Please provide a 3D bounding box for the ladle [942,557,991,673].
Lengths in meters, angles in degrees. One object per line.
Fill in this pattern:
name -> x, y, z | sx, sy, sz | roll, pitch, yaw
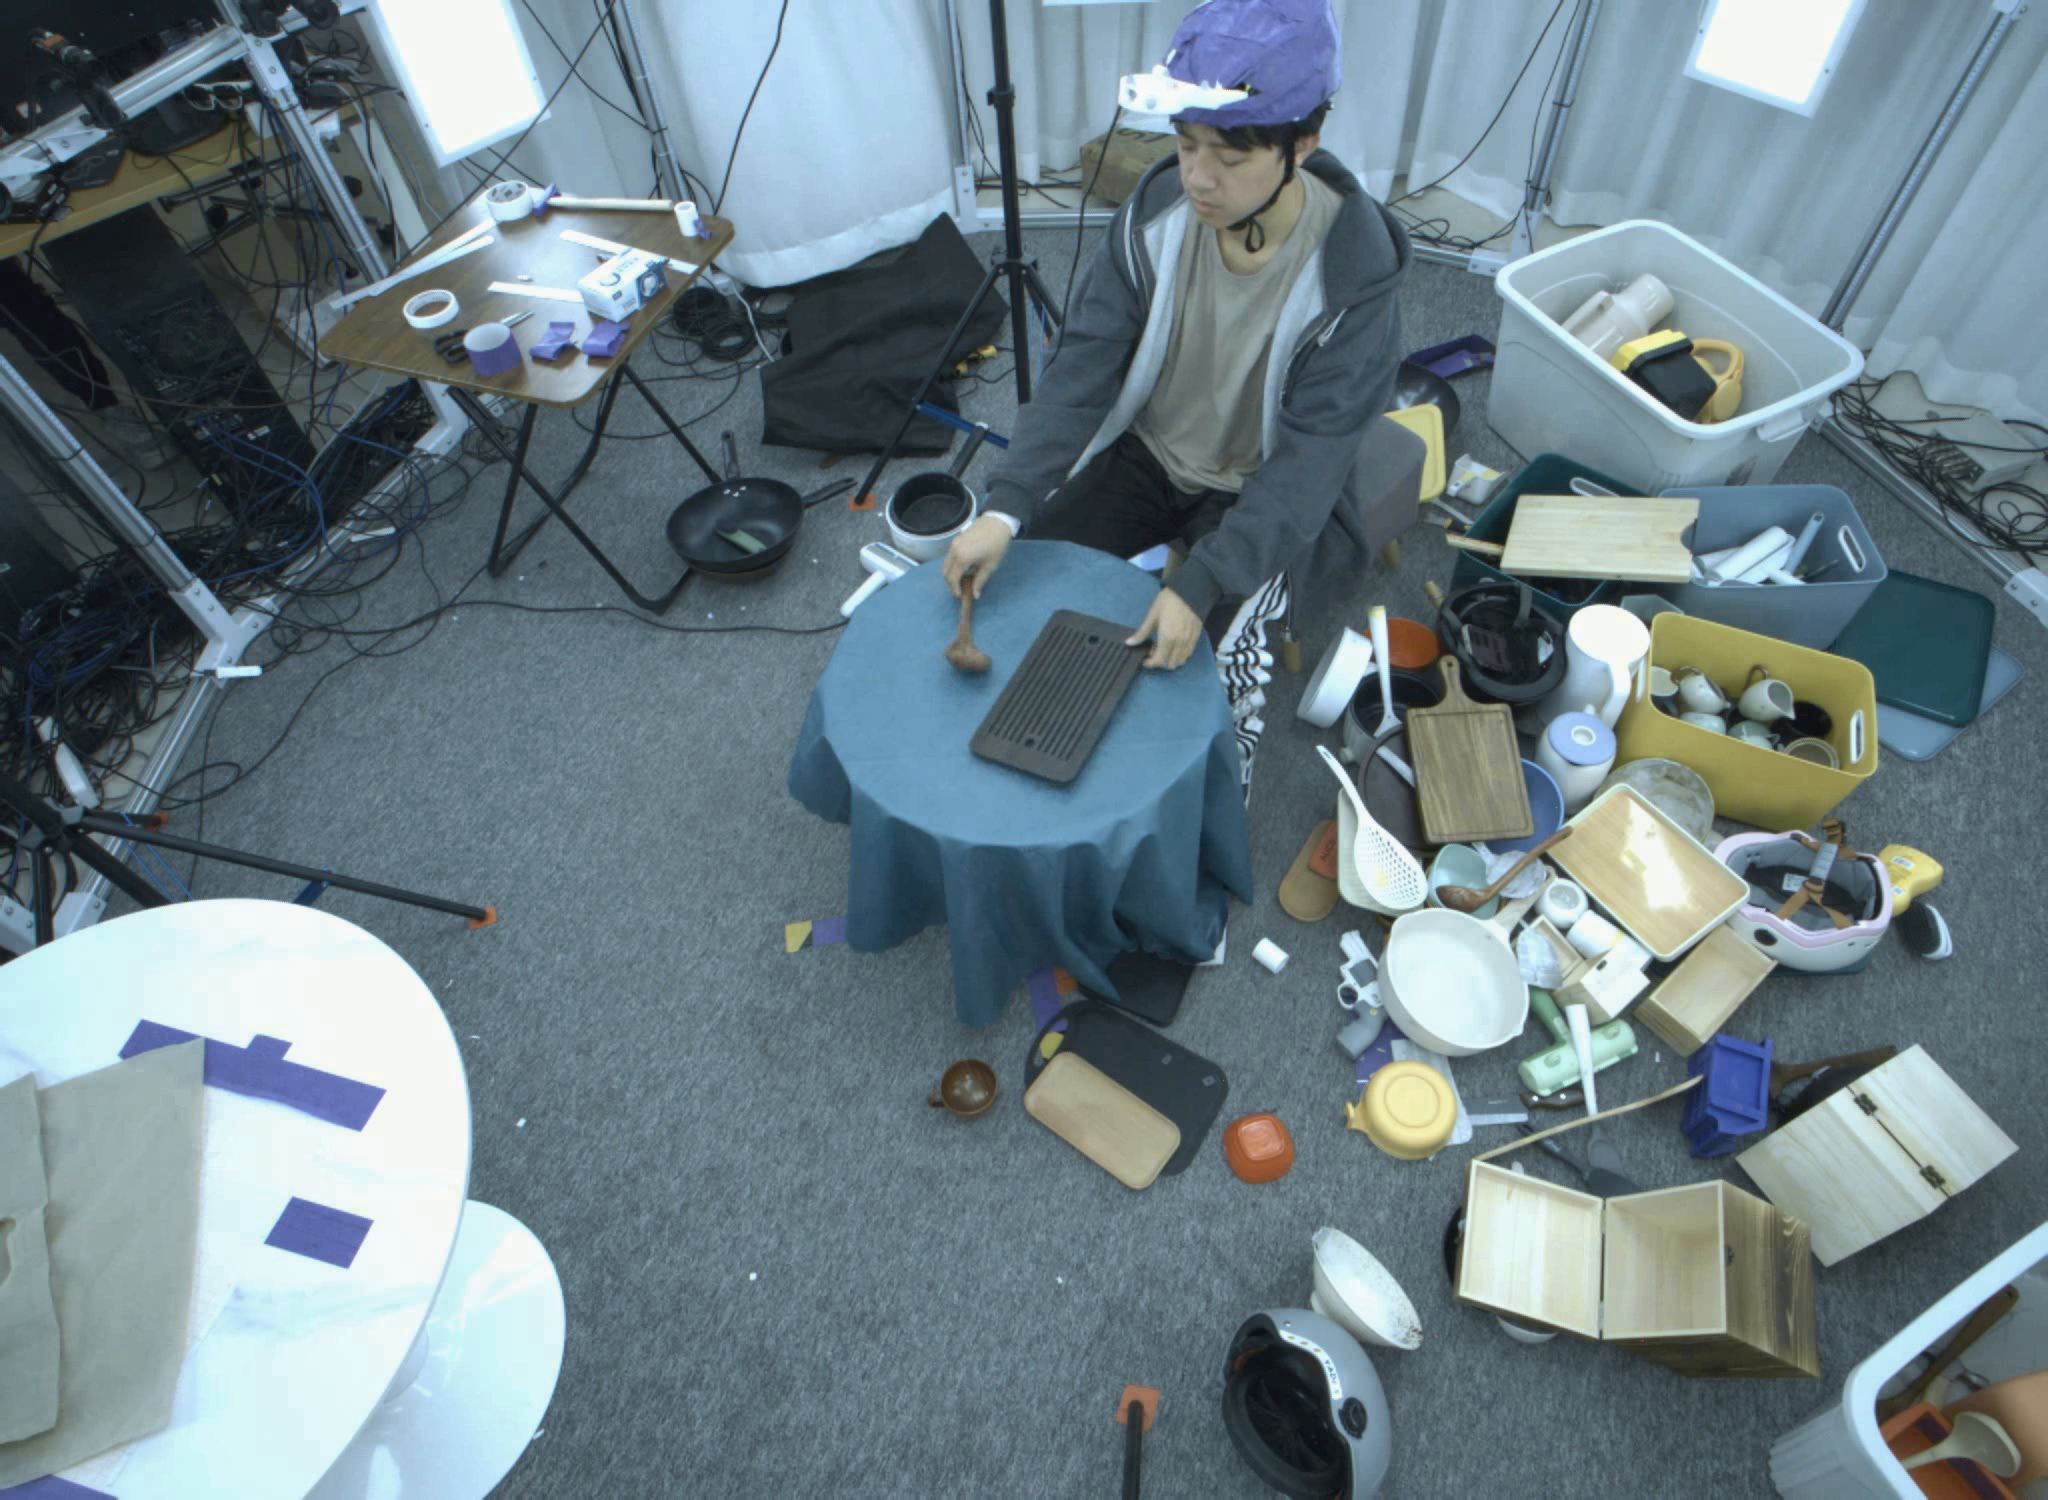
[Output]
ladle -> -0.088, -0.221, 1.910 | 0.078, 0.065, 0.257 | 15, 52, -21

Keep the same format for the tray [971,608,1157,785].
tray -> 0.063, -0.084, 1.831 | 0.167, 0.019, 0.306 | 20, 58, 19
